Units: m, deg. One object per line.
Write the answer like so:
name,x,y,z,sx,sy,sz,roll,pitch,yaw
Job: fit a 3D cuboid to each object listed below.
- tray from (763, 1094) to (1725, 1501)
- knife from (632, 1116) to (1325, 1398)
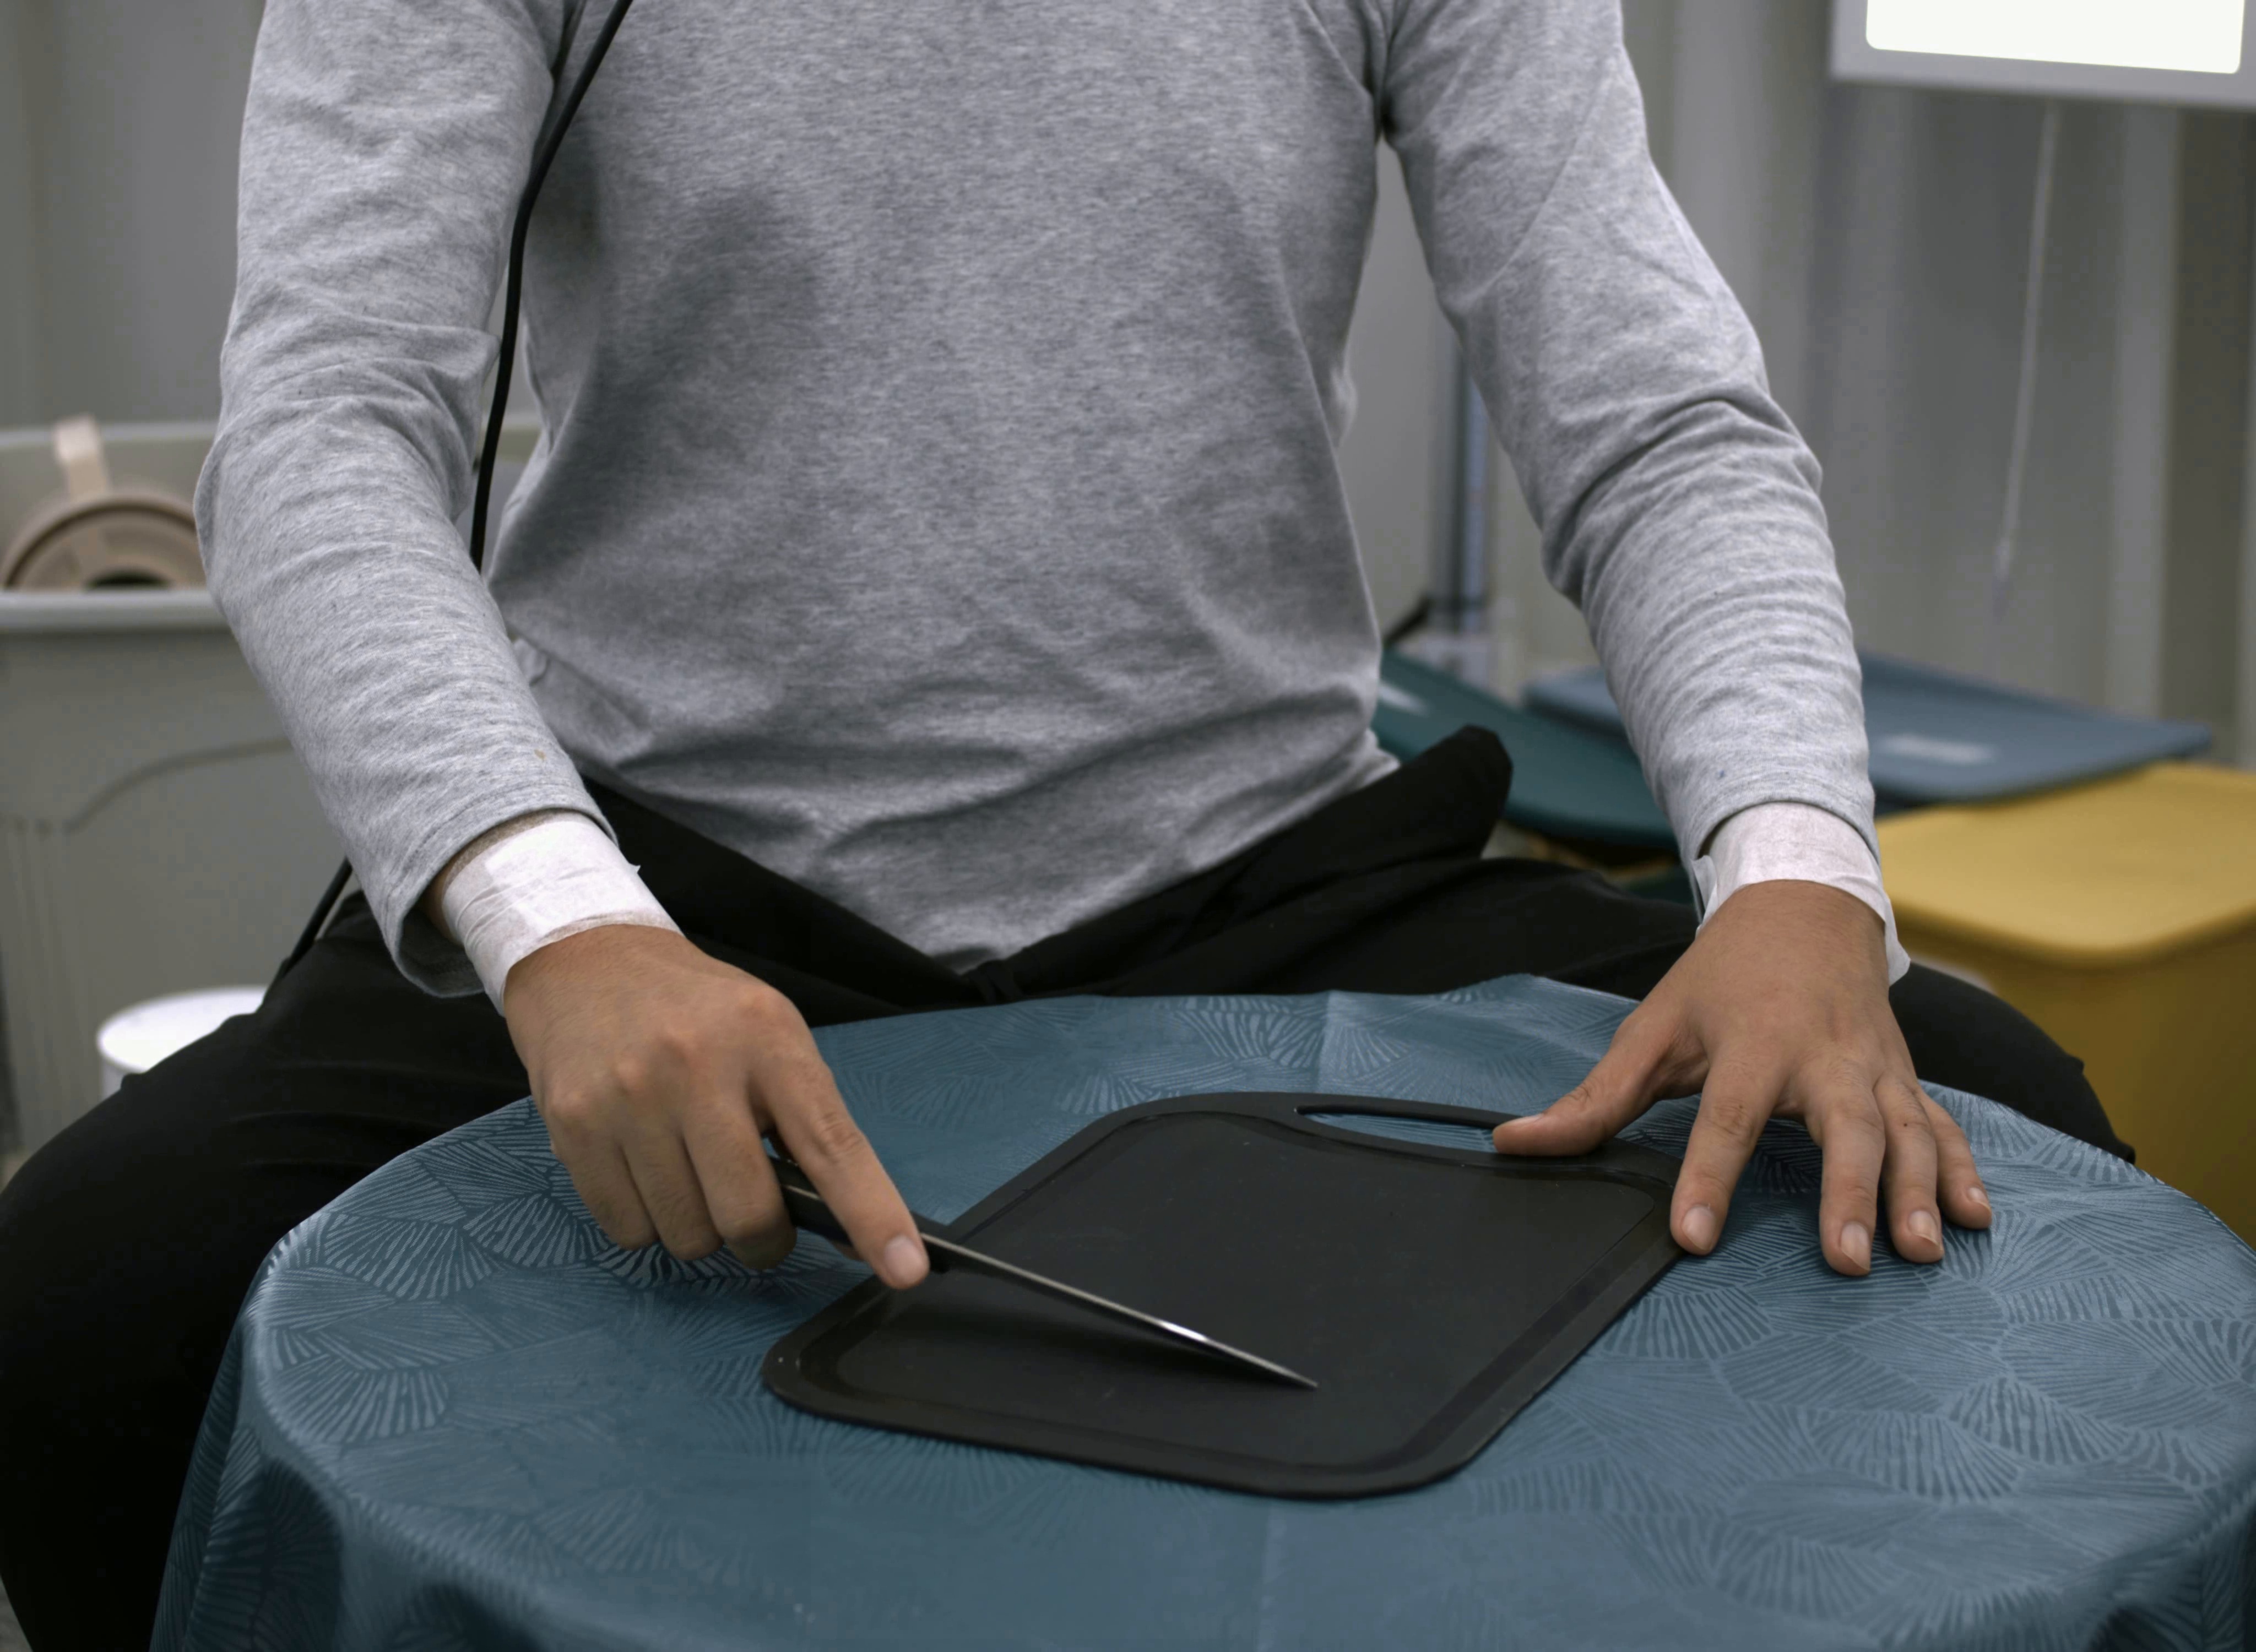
tray,0.044,0.129,1.555,0.209,0.010,0.326,8,17,23
knife,-0.047,0.124,1.512,0.235,0.016,0.025,18,-10,26
